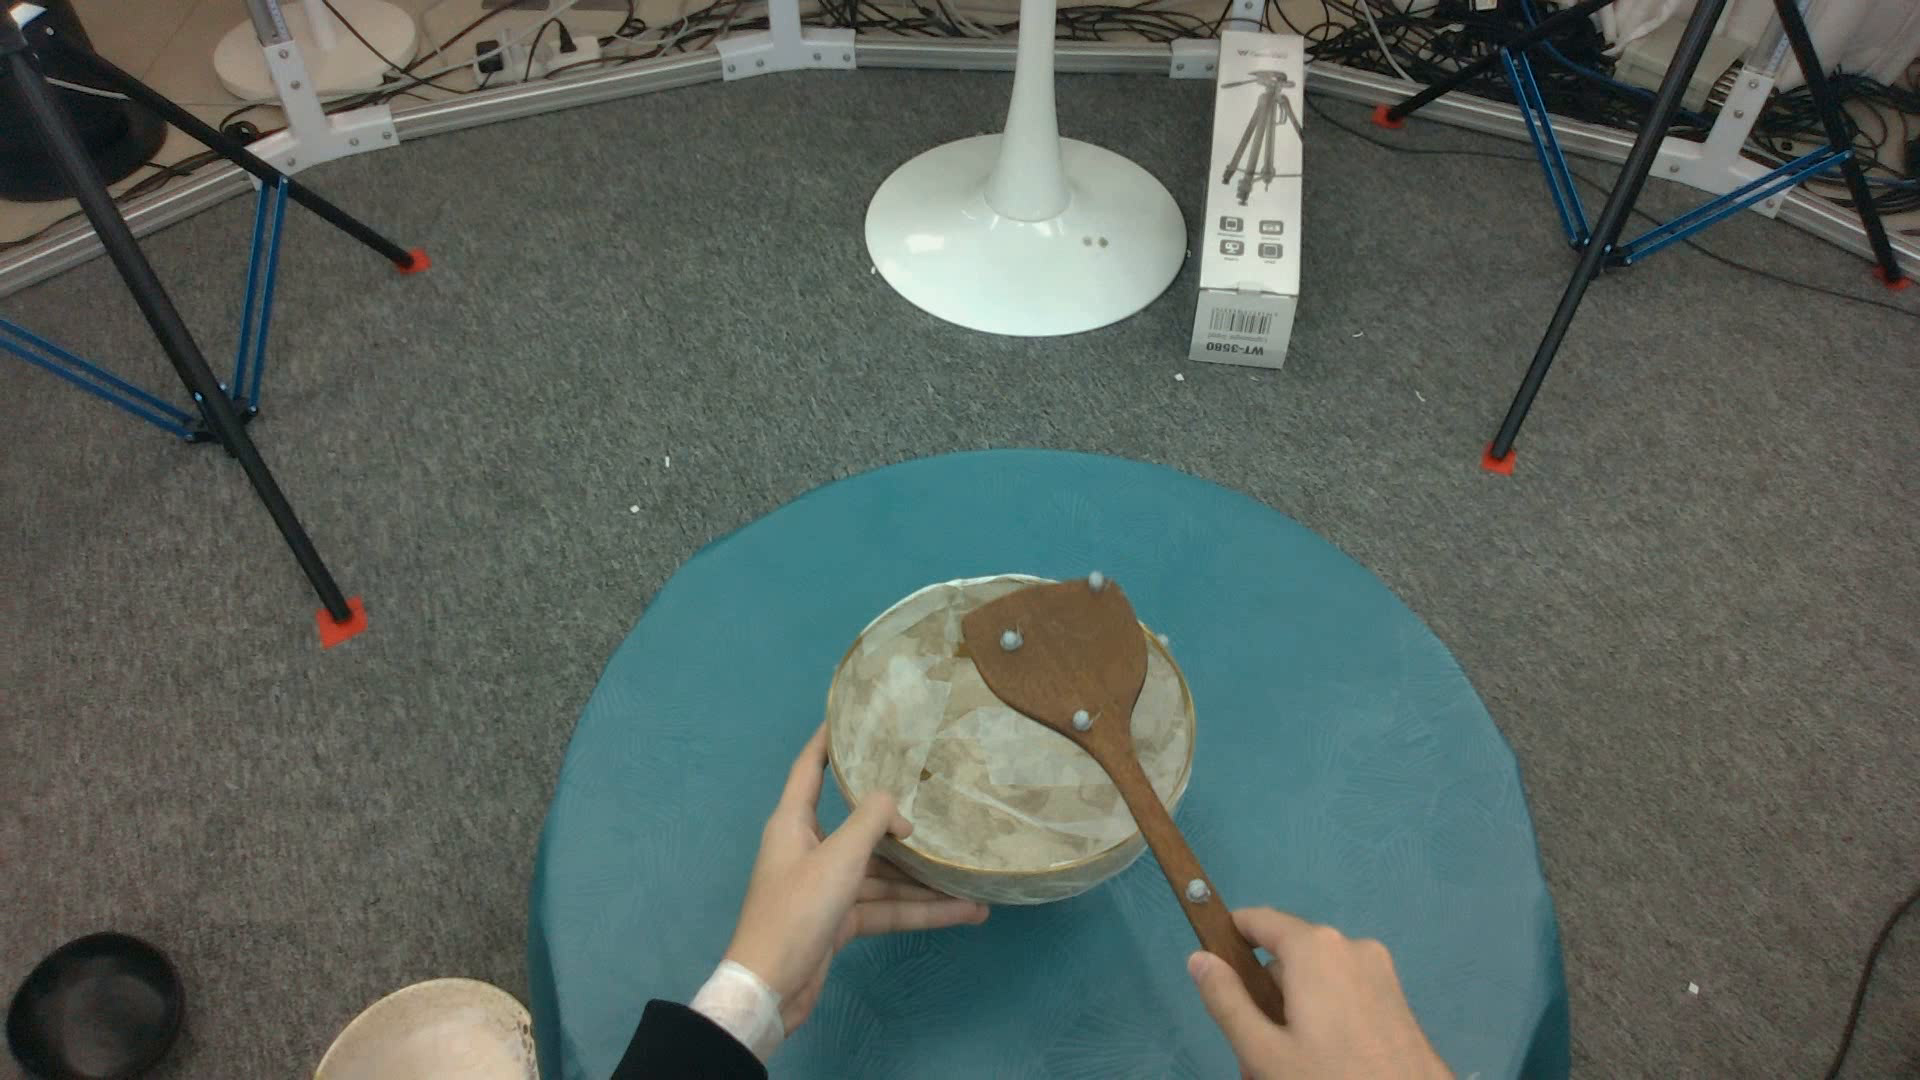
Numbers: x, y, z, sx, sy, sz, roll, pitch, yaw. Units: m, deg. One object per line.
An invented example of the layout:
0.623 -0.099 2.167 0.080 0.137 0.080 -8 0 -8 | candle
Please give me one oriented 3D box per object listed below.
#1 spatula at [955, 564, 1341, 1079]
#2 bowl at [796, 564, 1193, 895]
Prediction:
0.098 0.141 0.622 0.096 0.016 0.387 -15 43 -12 | spatula
0.019 0.119 0.765 0.215 0.094 0.215 1 45 -1 | bowl
